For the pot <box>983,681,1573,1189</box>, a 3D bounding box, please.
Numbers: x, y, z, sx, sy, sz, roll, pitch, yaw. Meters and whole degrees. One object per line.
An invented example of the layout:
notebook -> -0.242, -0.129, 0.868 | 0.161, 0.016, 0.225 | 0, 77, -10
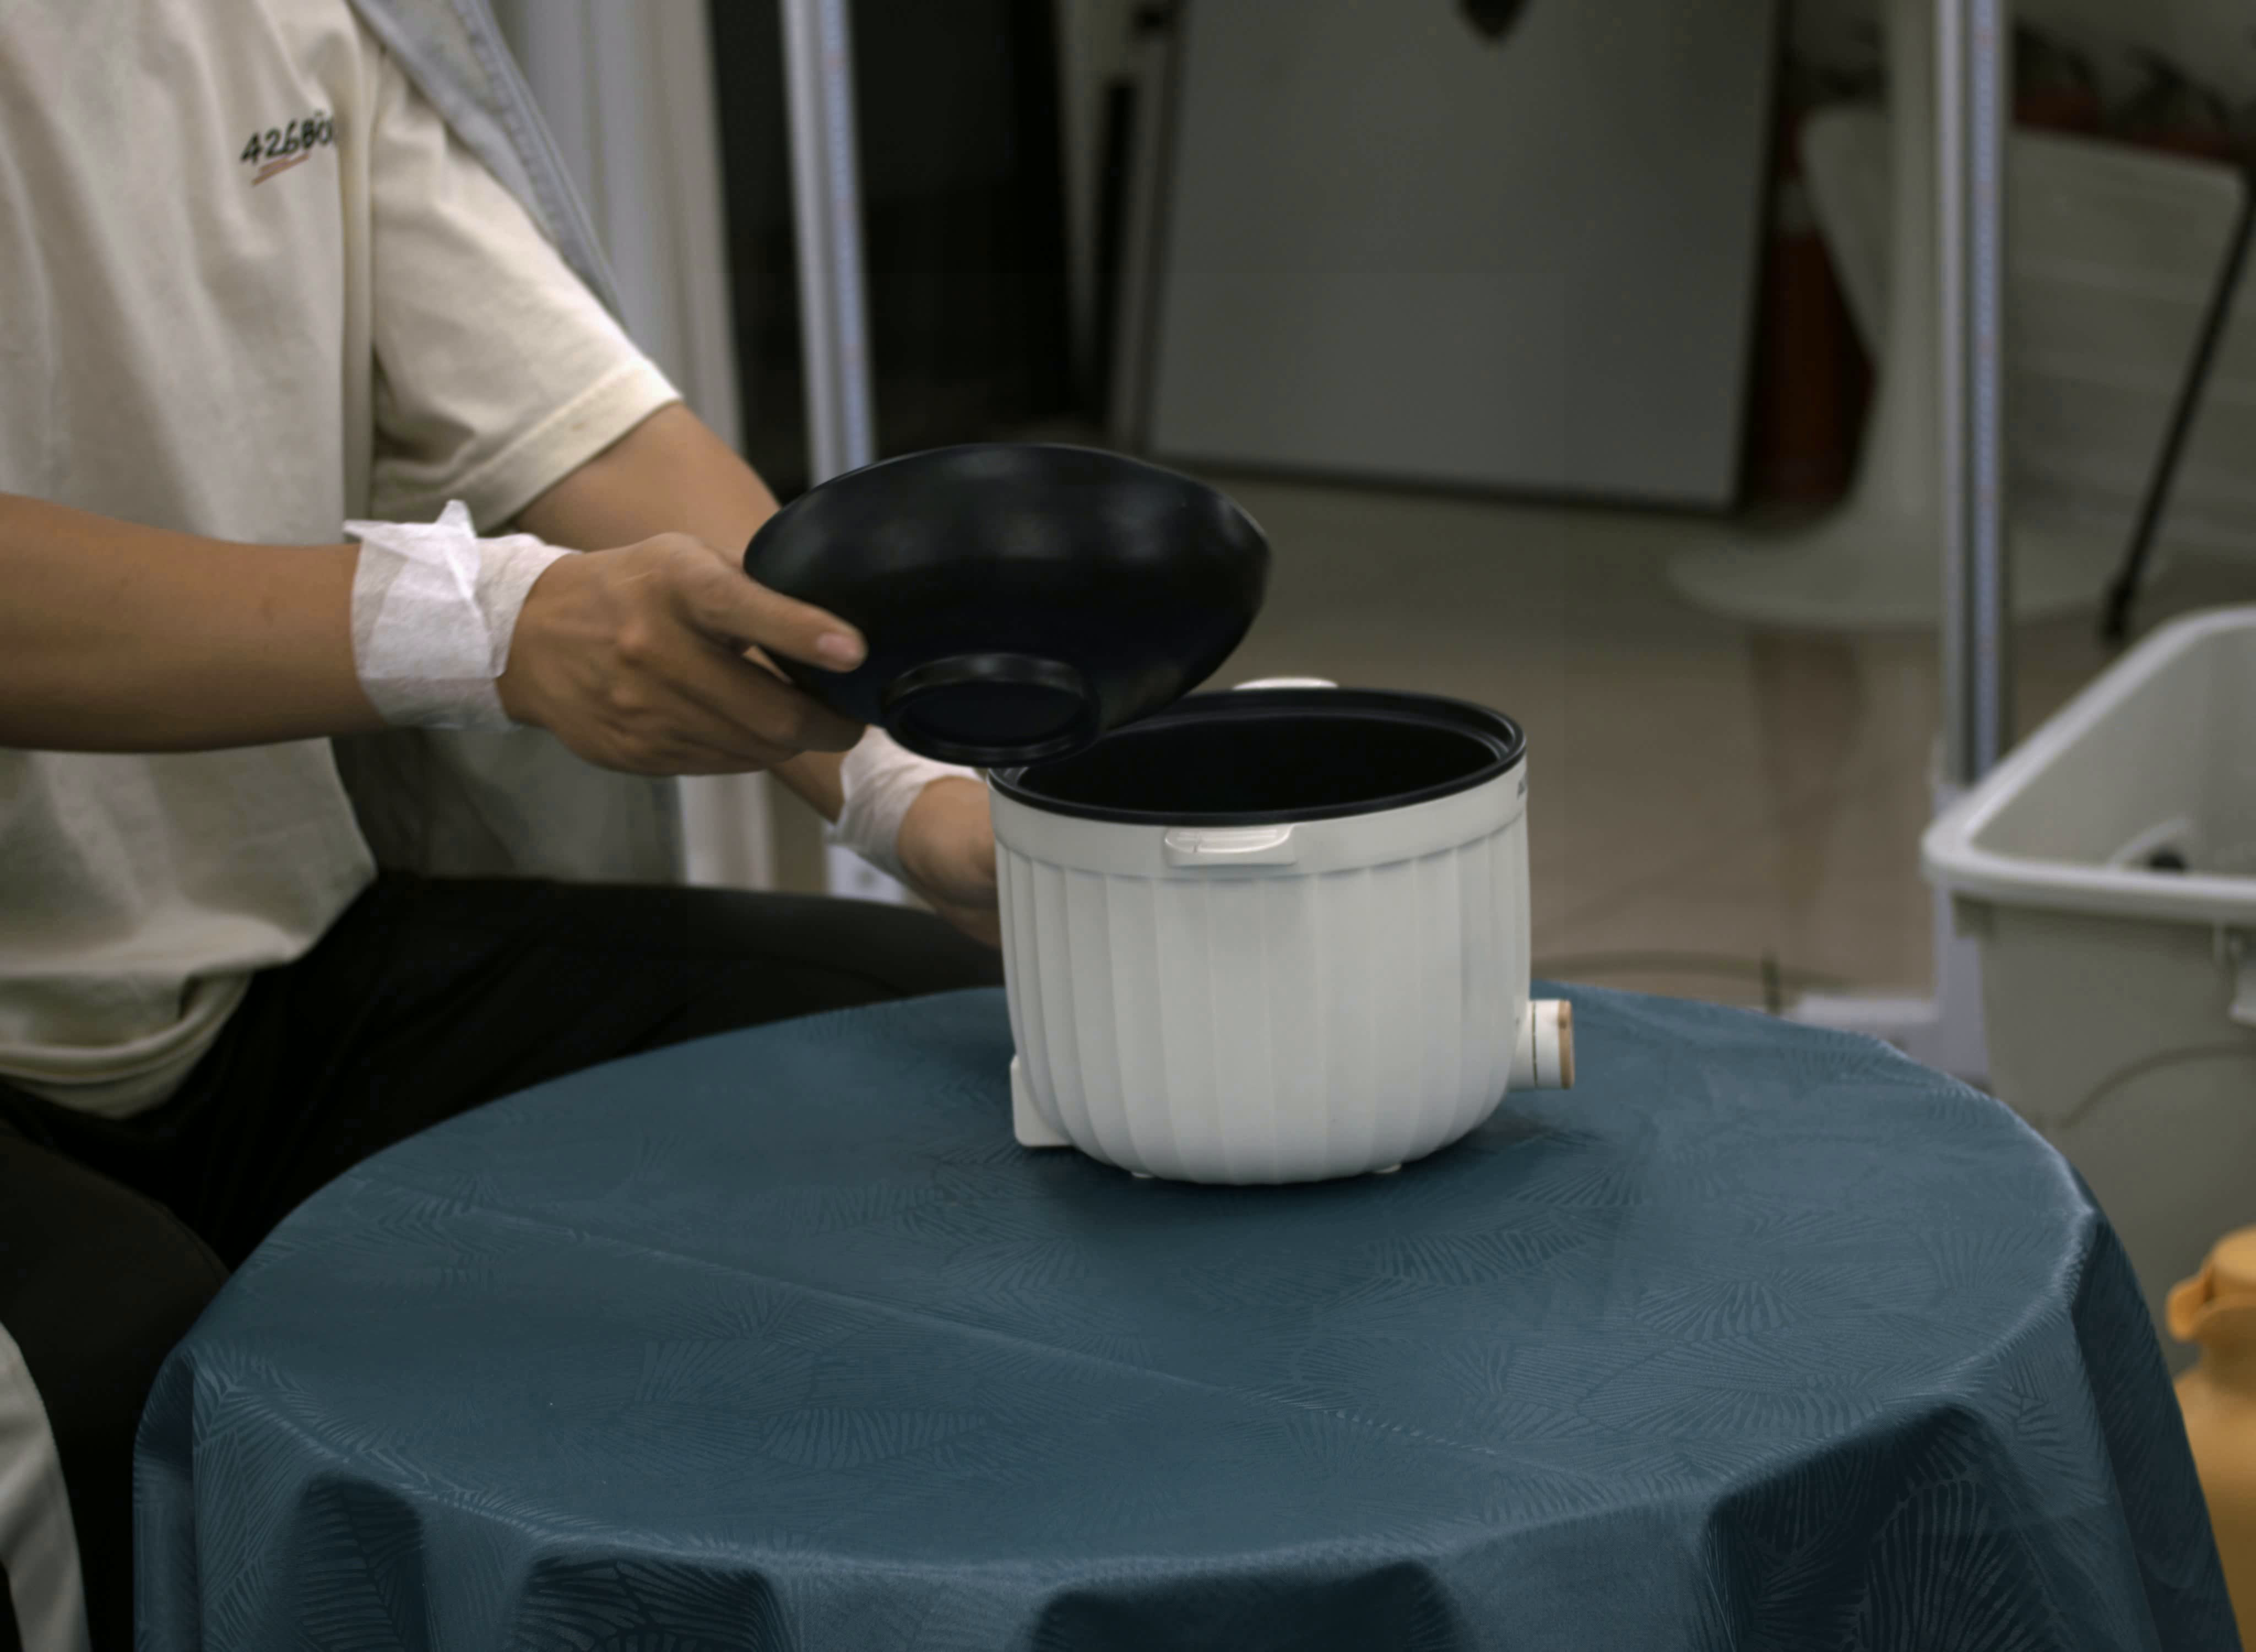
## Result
pot -> 0.052, 0.038, 1.808 | 0.189, 0.144, 0.240 | -5, 14, 8

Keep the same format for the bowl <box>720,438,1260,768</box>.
bowl -> -0.042, -0.061, 1.661 | 0.168, 0.067, 0.137 | -2, -23, 3
